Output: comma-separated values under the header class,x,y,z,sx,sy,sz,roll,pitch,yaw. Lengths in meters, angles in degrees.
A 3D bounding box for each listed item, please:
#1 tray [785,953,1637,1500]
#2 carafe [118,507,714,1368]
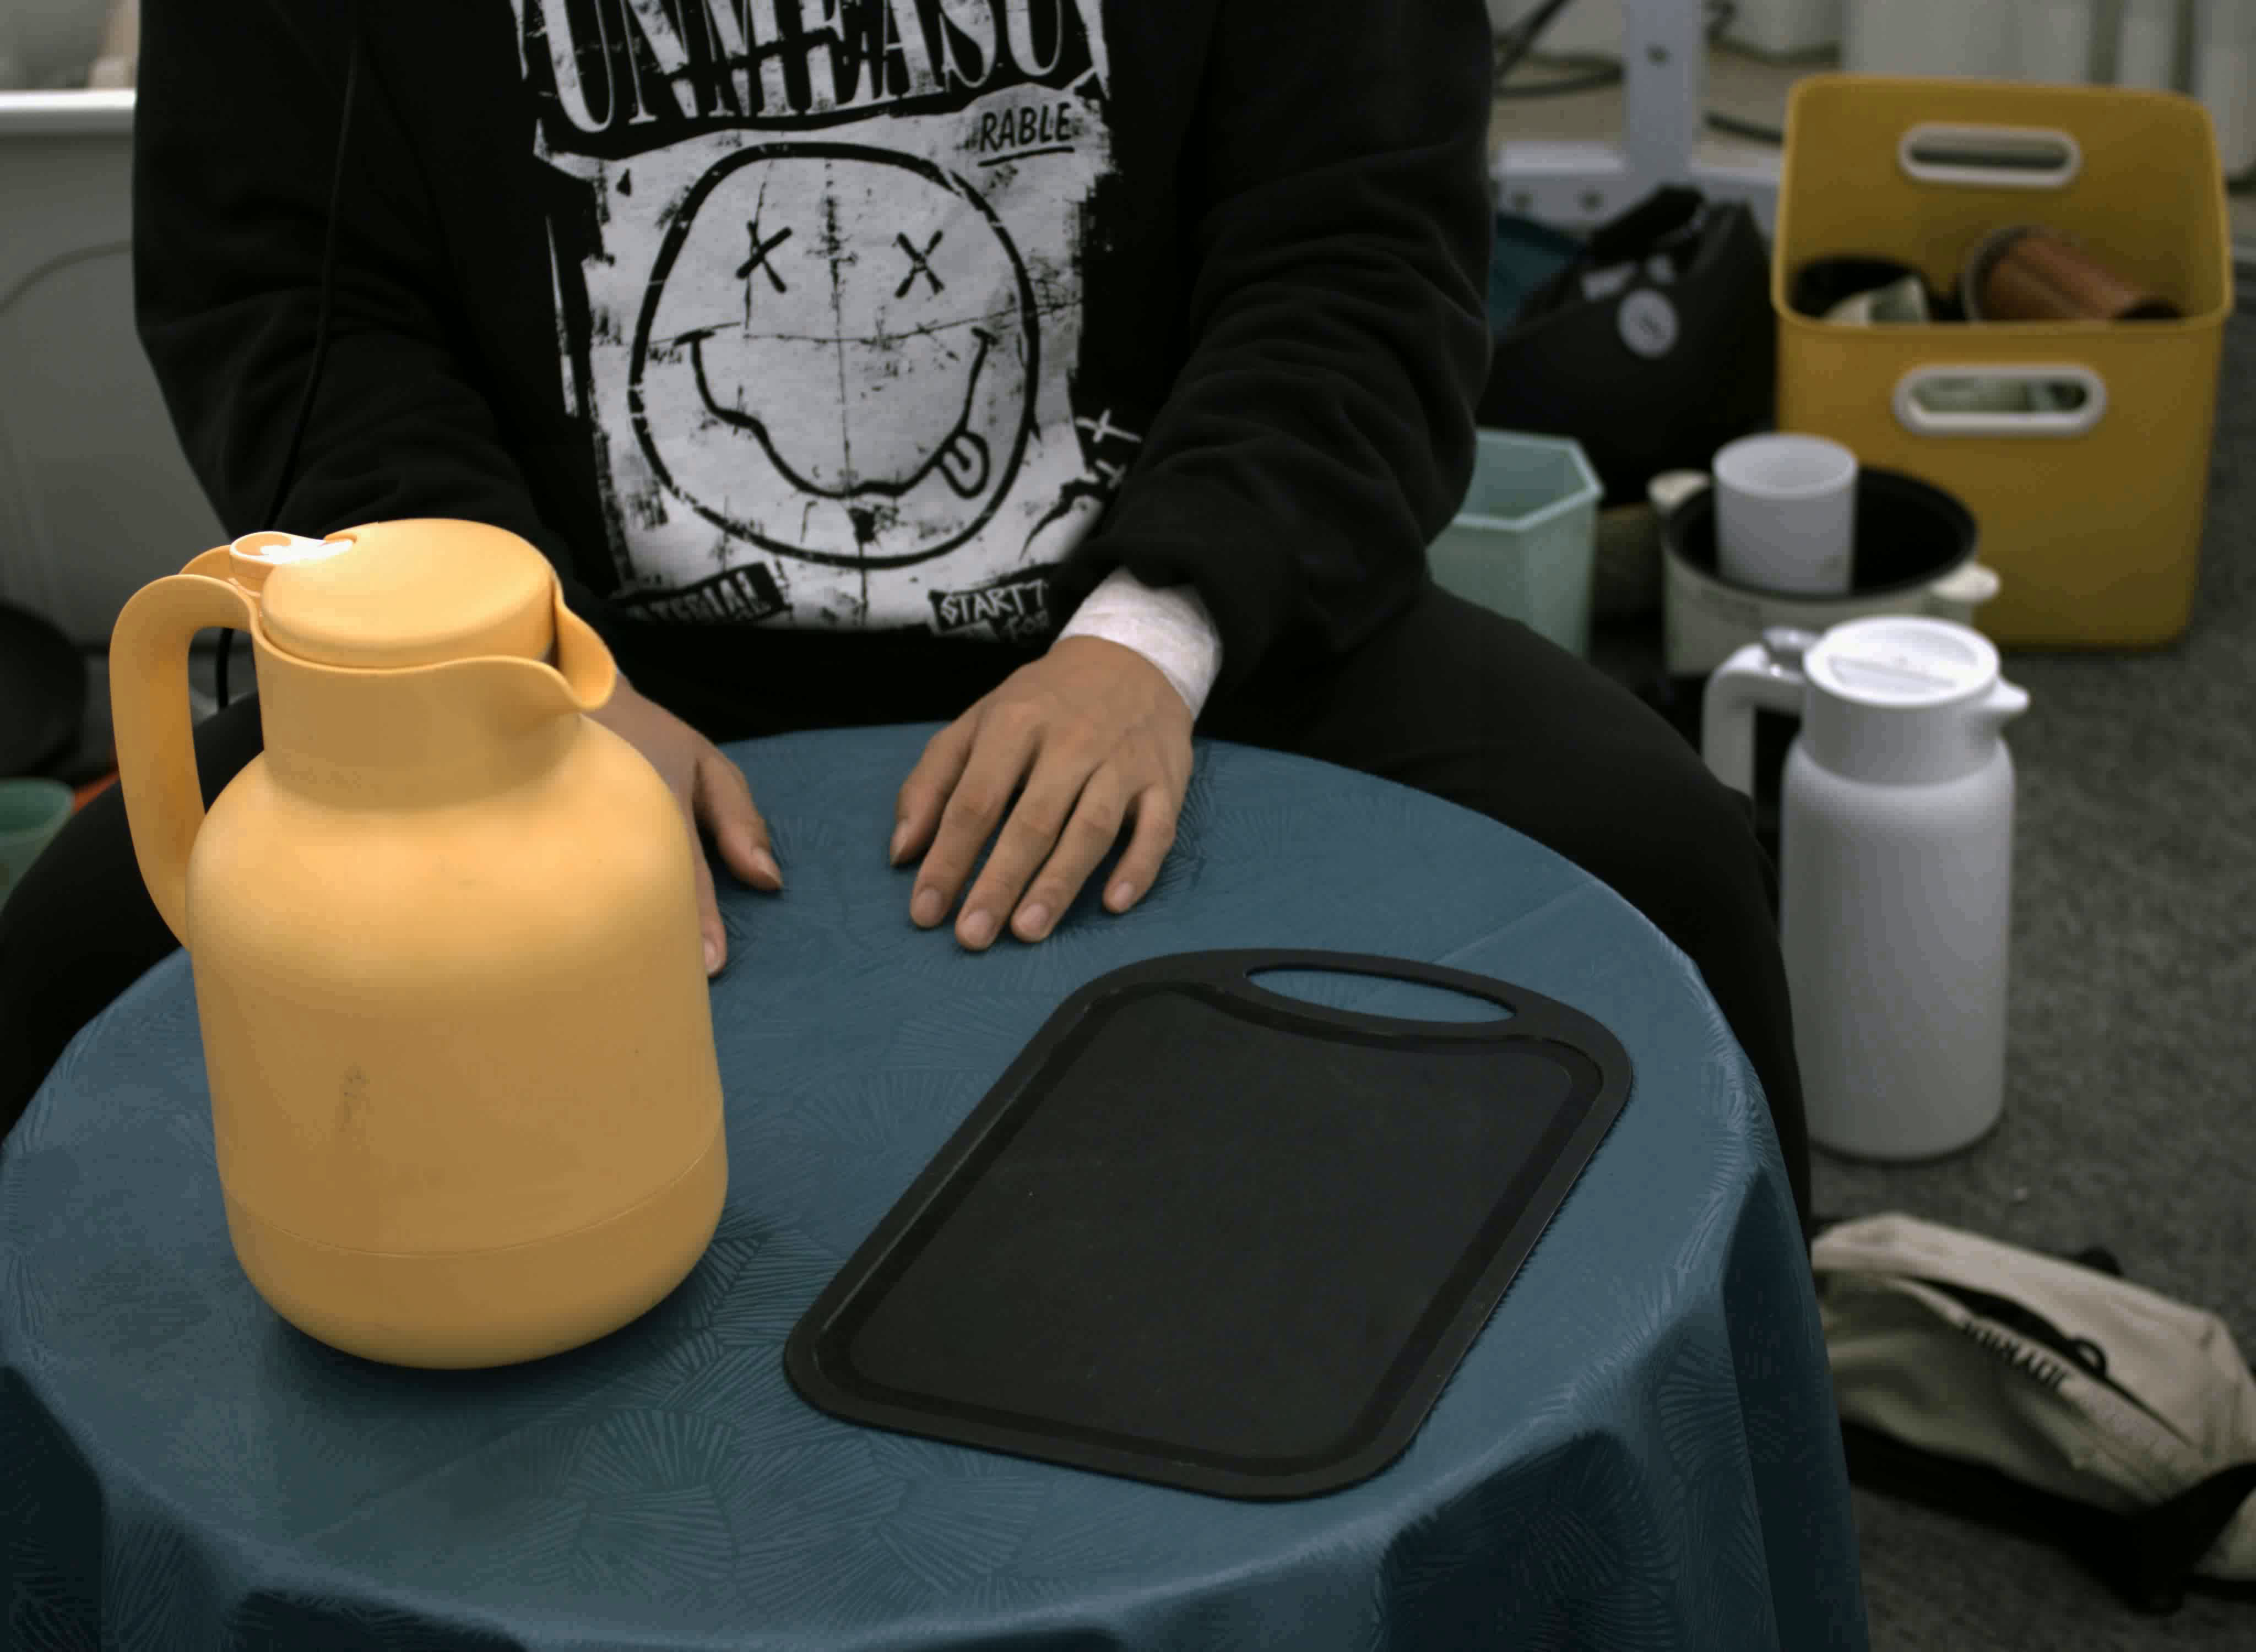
class,x,y,z,sx,sy,sz,roll,pitch,yaw
tray,0.035,0.120,1.851,0.210,0.009,0.331,9,29,21
carafe,-0.231,0.026,1.785,0.201,0.258,0.166,16,30,31
